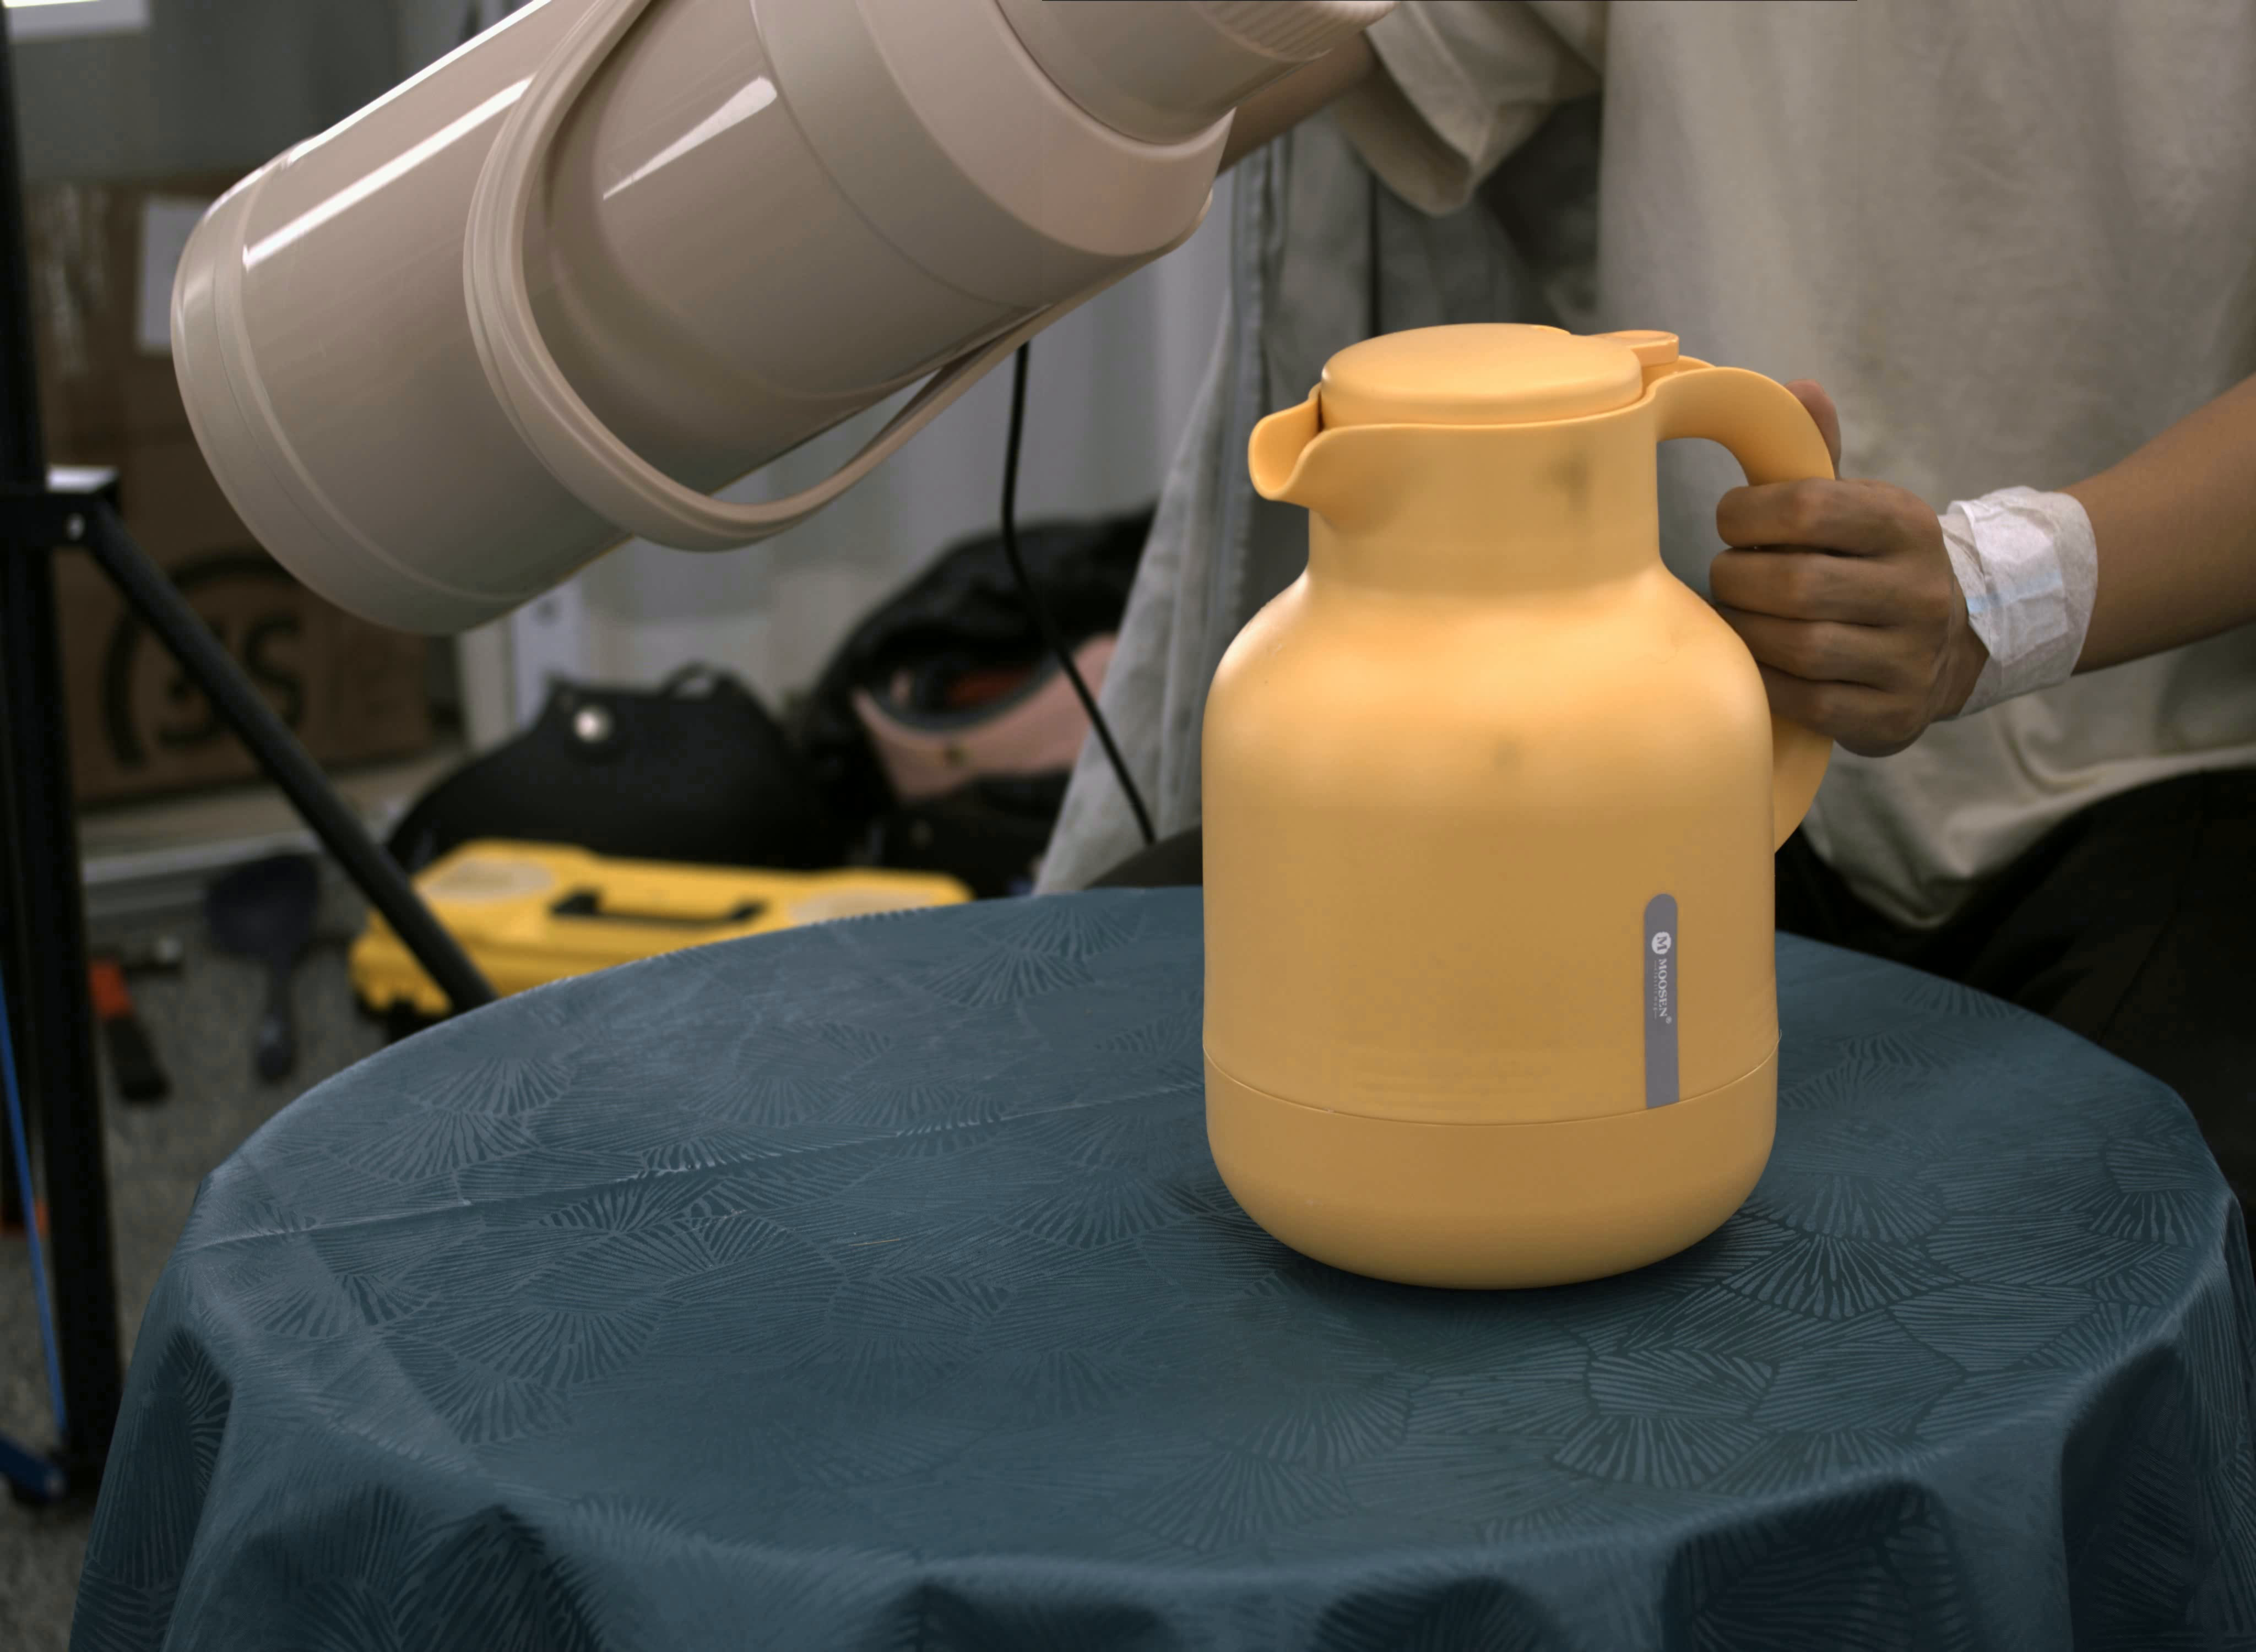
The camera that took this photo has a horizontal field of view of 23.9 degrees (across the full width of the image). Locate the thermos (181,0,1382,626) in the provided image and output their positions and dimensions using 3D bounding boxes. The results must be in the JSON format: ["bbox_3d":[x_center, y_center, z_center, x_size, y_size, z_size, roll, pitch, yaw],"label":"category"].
[{"bbox_3d":[-0.093,-0.214,1.587,0.412,0.172,0.208,-26,38,39],"label":"thermos"}]

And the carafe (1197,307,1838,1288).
[{"bbox_3d":[0.117,-0.014,1.491,0.198,0.260,0.167,-12,20,-29],"label":"carafe"}]
